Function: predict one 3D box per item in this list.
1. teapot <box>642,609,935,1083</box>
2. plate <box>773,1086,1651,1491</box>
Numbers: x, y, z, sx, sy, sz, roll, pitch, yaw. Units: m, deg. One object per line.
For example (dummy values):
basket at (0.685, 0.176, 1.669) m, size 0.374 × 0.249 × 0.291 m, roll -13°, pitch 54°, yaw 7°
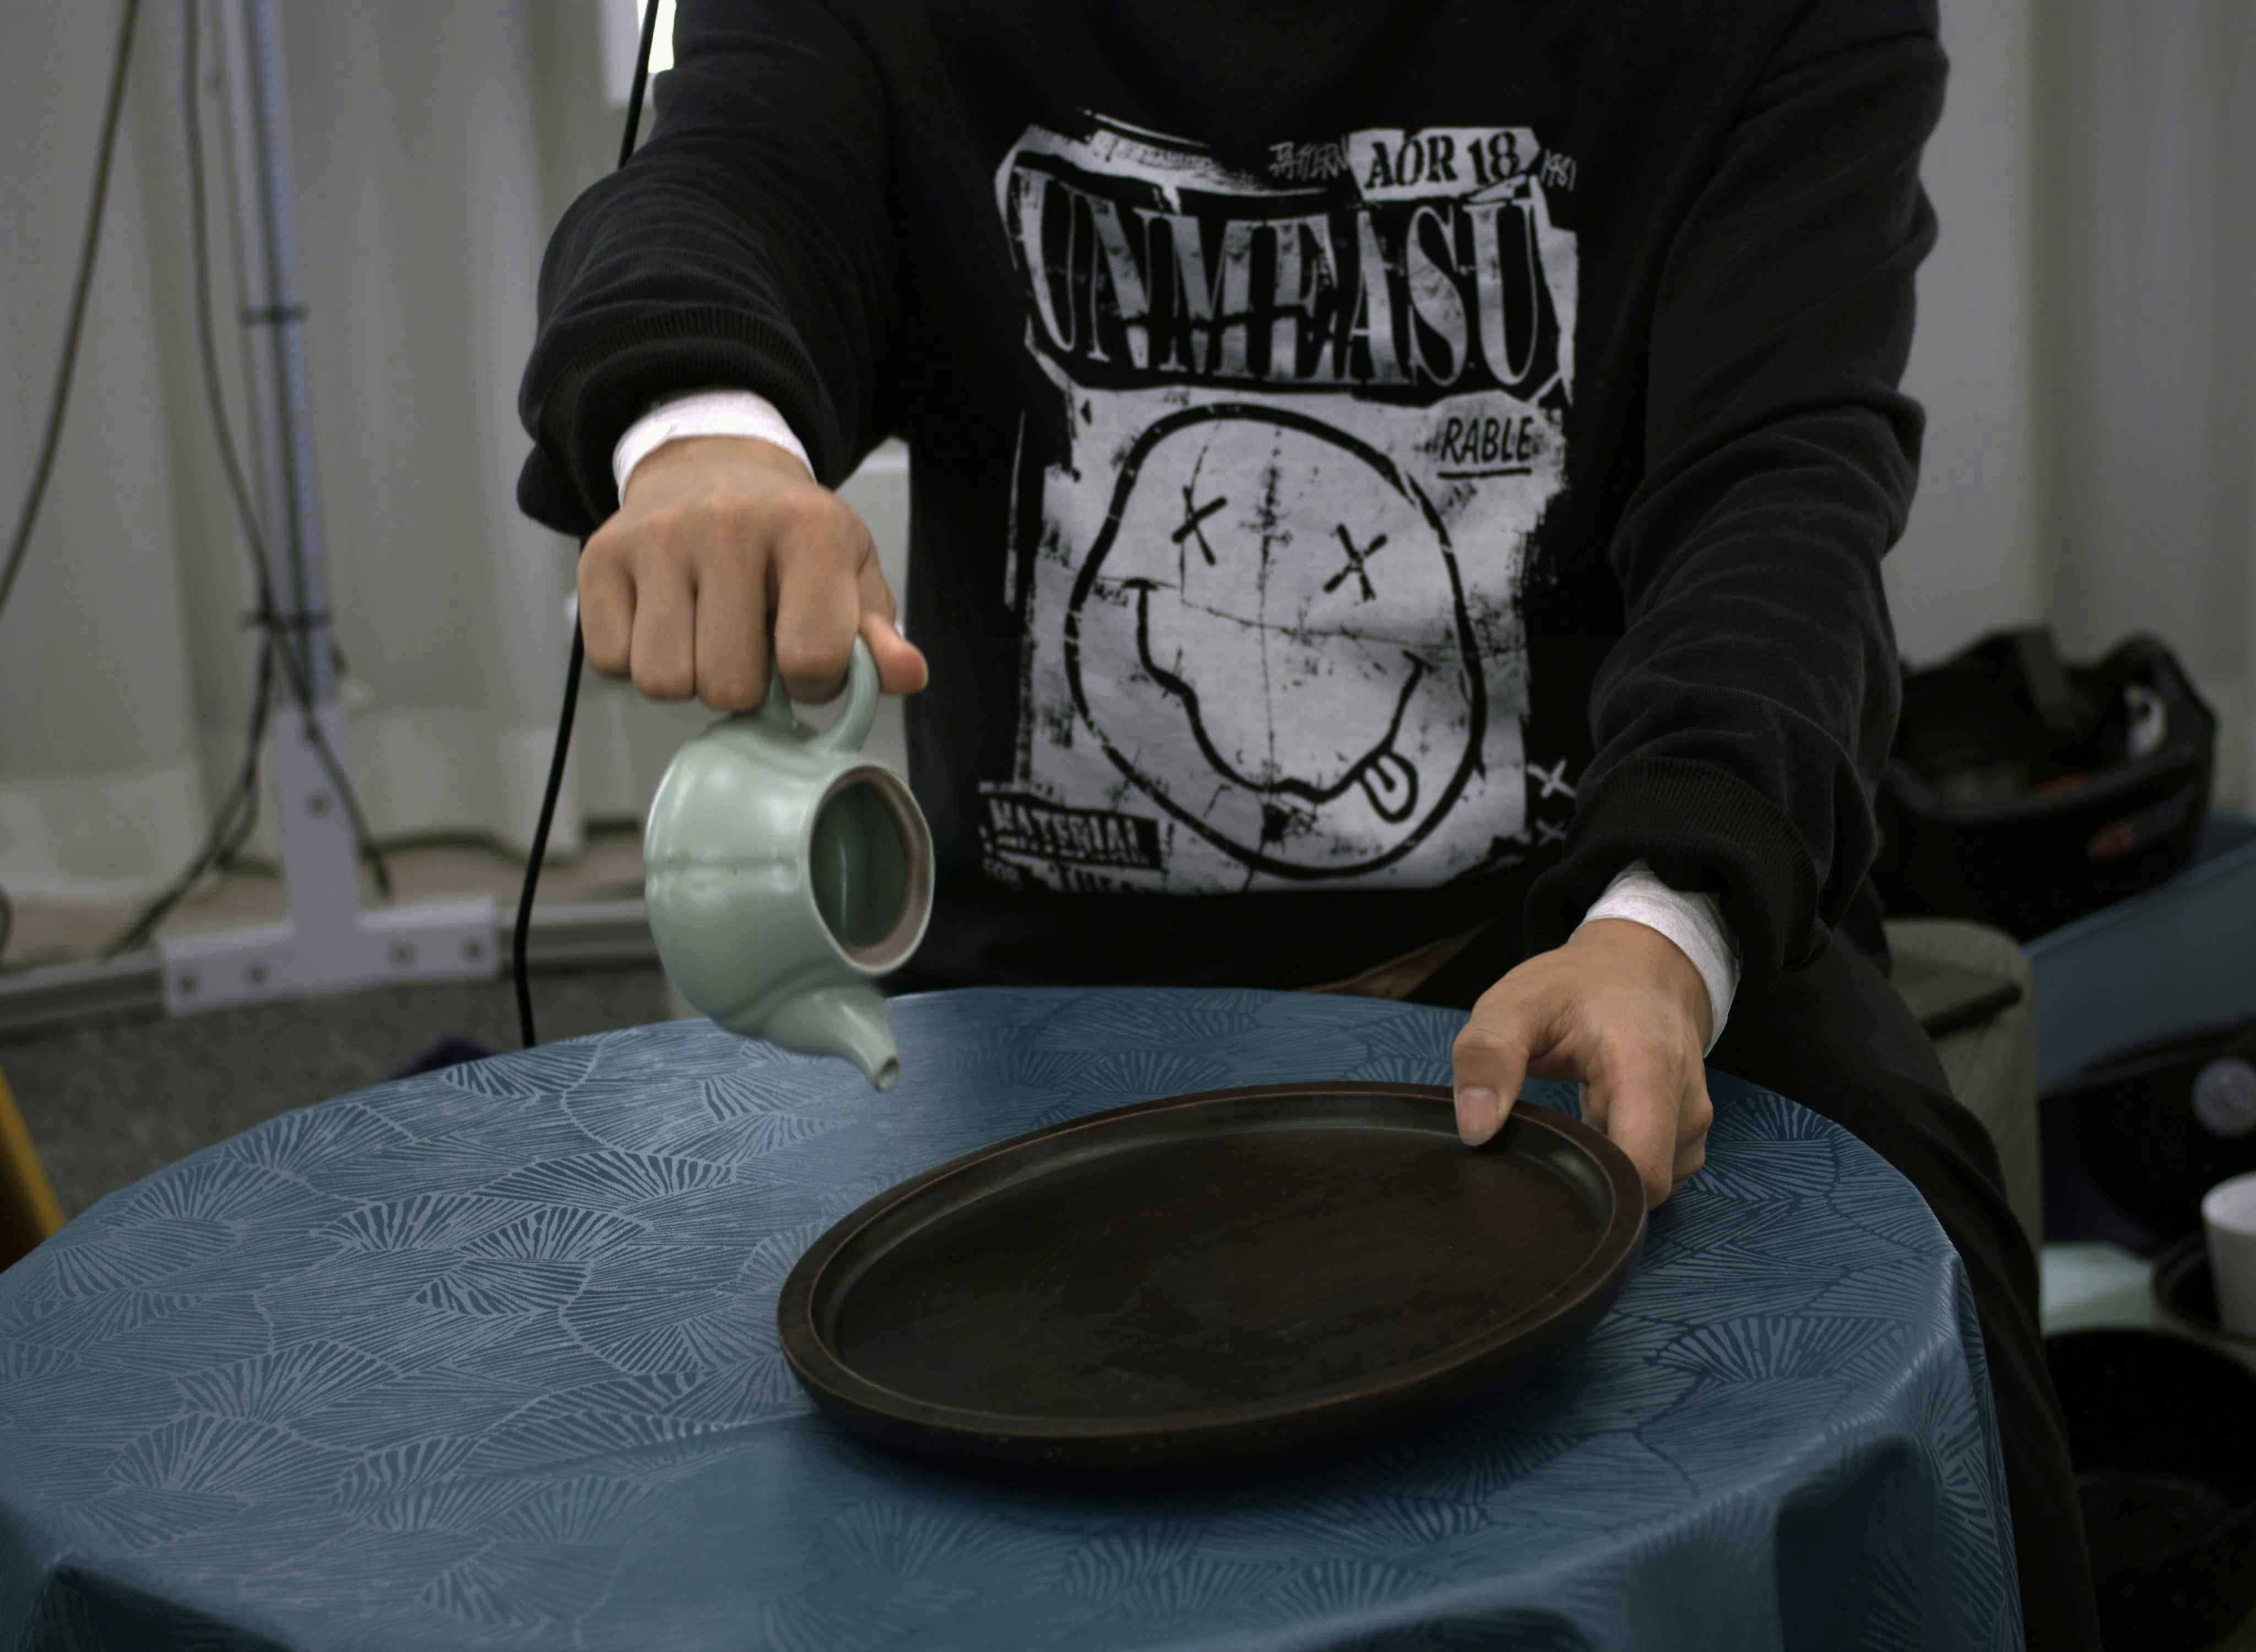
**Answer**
teapot at (-0.095, 0.006, 1.584) m, size 0.061 × 0.137 × 0.096 m, roll -4°, pitch 0°, yaw 36°
plate at (0.024, 0.129, 1.562) m, size 0.254 × 0.029 × 0.257 m, roll -9°, pitch 18°, yaw 3°
